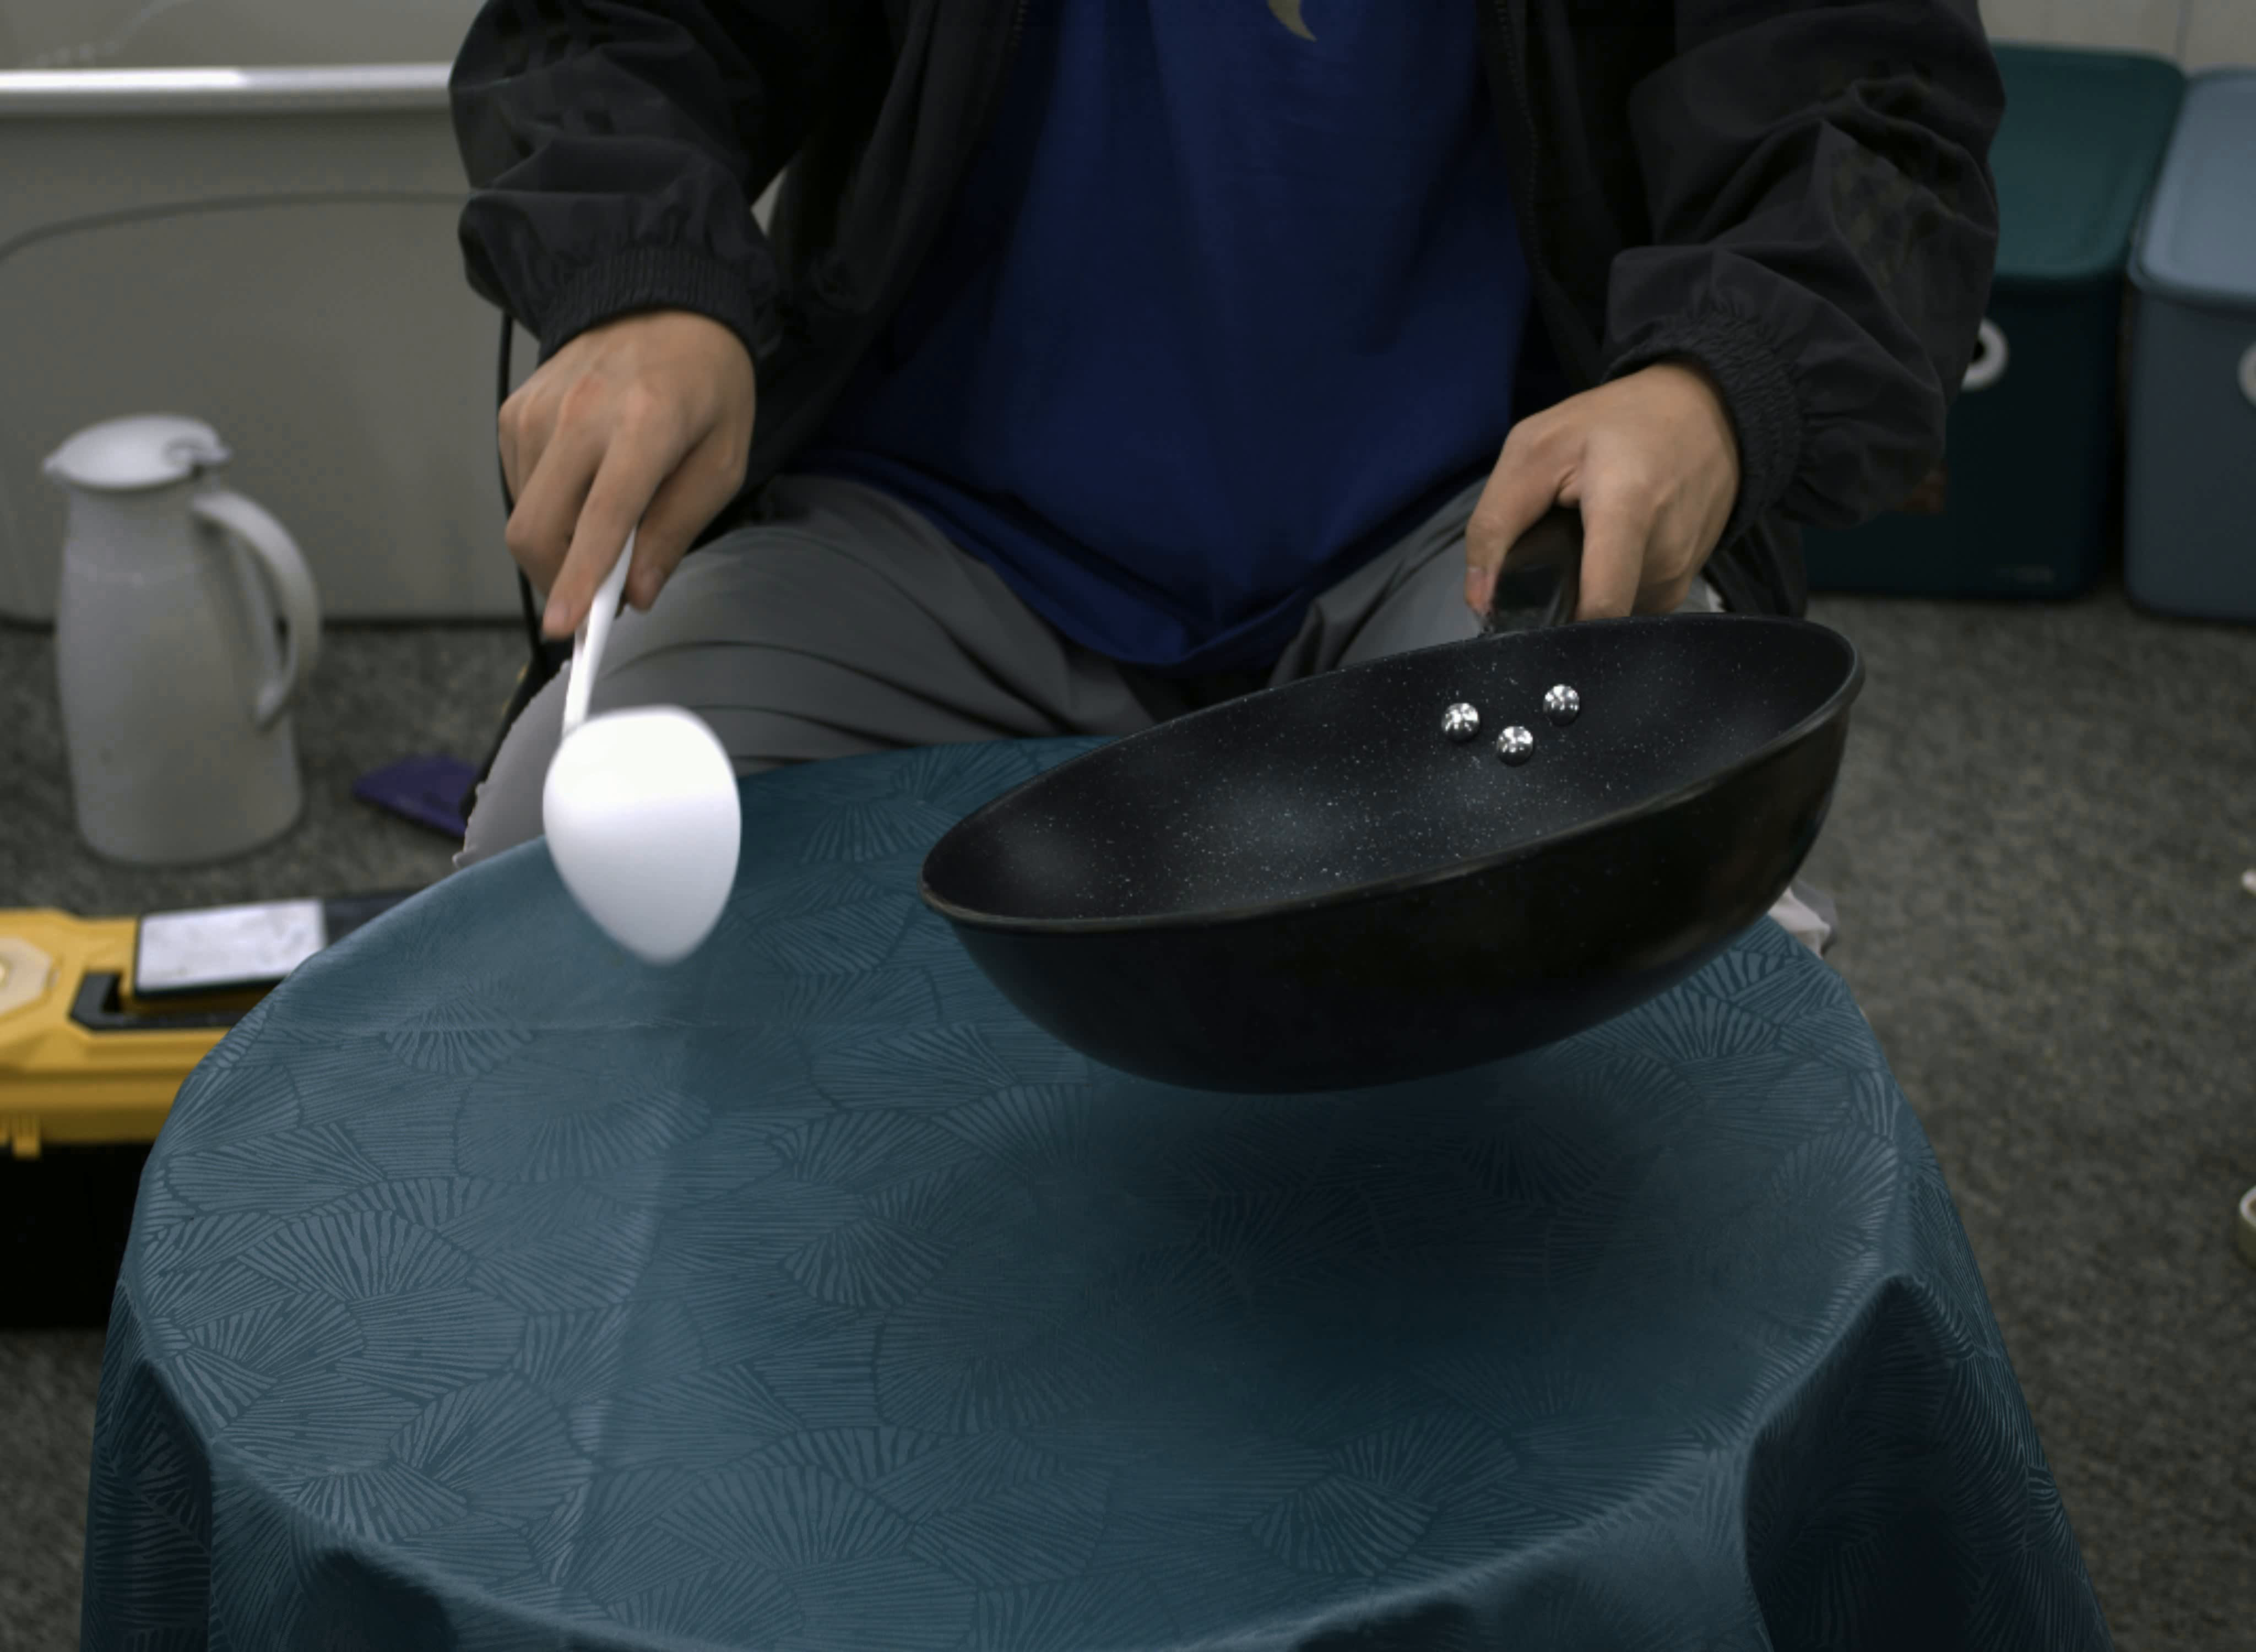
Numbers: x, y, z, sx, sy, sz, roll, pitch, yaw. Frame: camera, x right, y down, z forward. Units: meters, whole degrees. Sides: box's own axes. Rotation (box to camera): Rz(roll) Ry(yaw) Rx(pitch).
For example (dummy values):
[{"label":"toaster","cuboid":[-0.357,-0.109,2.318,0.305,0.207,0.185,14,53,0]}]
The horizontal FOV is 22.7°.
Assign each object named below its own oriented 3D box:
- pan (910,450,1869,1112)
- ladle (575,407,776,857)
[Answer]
[{"label":"pan","cuboid":[0.112,-0.014,1.866,0.307,0.111,0.483,-8,15,20]},{"label":"ladle","cuboid":[-0.164,-0.082,2.021,0.070,0.089,0.296,5,24,-8]}]
